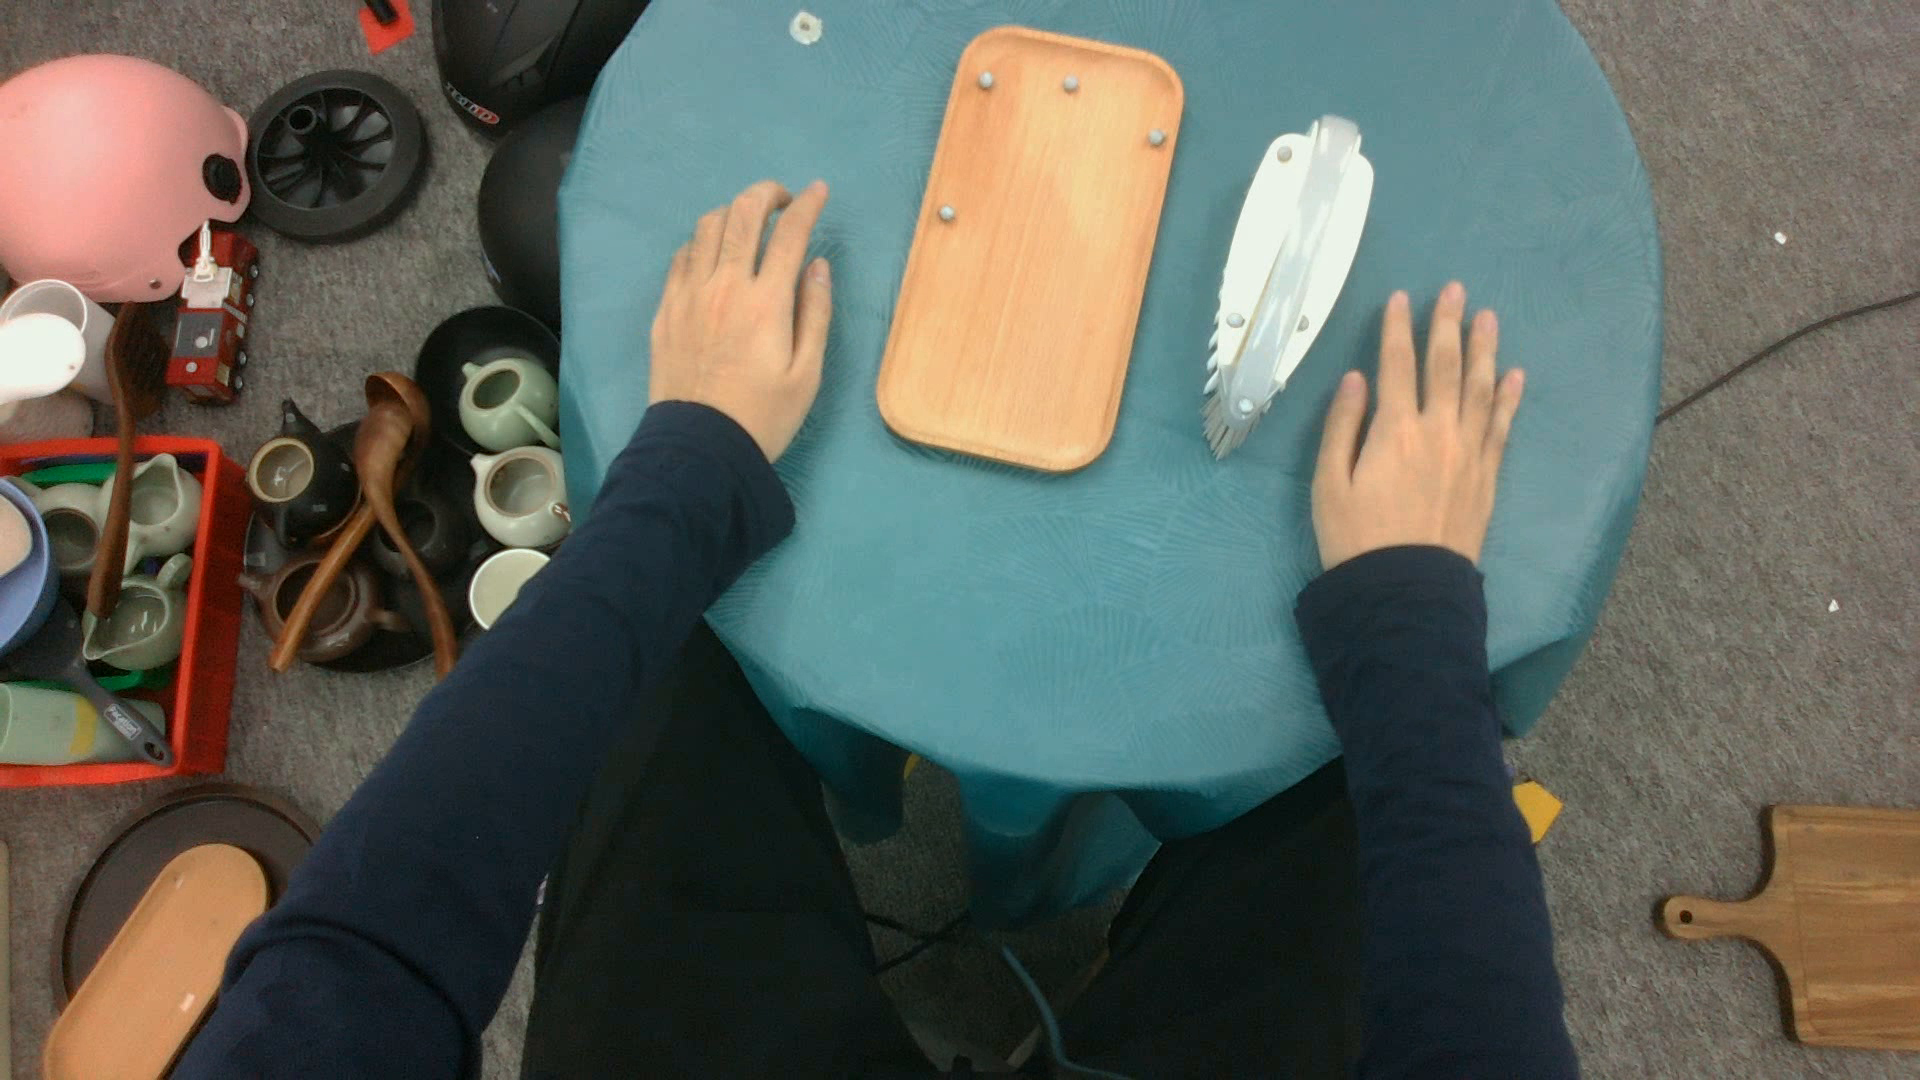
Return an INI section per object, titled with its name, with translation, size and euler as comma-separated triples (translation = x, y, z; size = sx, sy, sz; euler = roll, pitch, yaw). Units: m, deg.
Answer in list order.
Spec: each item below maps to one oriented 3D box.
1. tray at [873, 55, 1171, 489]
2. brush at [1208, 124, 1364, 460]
[tray]
translation = 0.037, -0.151, 0.758
size = 0.130, 0.023, 0.251
euler = 11, 75, 7
[brush]
translation = 0.165, -0.133, 0.711
size = 0.061, 0.094, 0.176
euler = 18, 77, 5
